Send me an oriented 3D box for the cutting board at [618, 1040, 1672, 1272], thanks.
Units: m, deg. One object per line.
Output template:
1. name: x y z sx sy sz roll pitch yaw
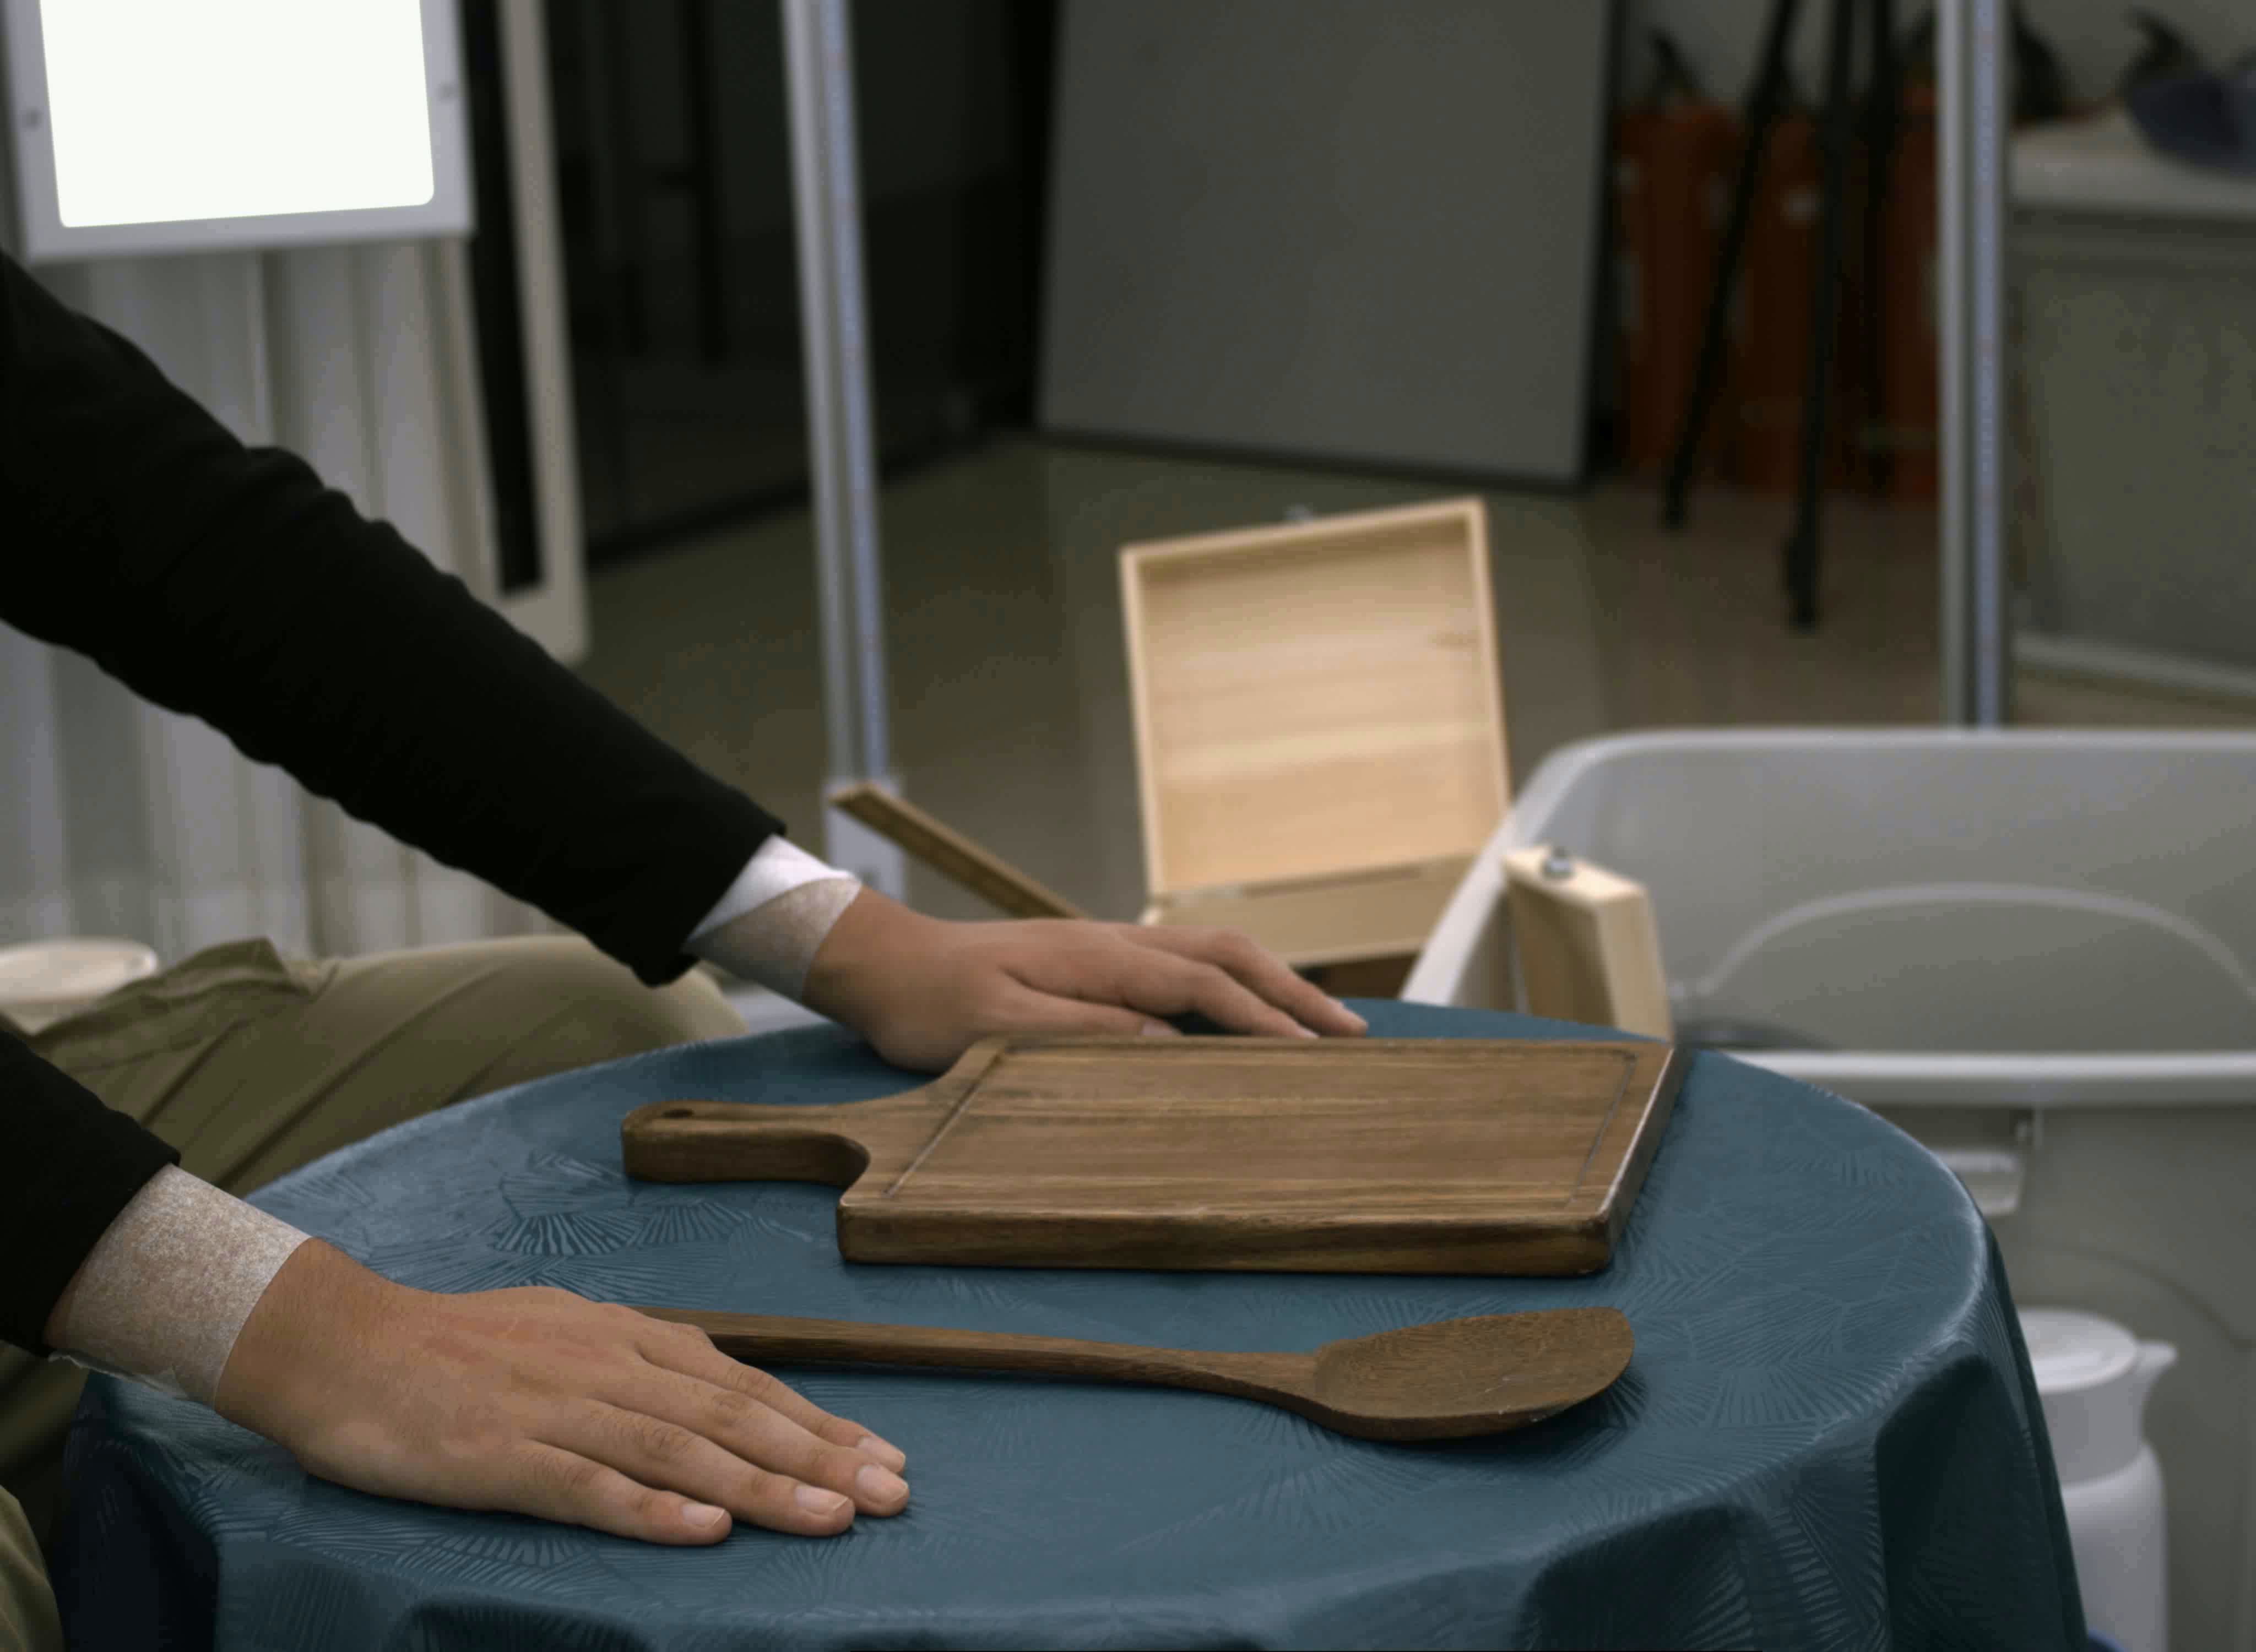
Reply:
1. cutting board: -0.001 0.107 1.785 0.350 0.023 0.200 -1 14 14

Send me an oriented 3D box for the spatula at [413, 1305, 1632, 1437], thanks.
1. spatula: -0.039 0.157 1.604 0.385 0.016 0.095 1 14 20
